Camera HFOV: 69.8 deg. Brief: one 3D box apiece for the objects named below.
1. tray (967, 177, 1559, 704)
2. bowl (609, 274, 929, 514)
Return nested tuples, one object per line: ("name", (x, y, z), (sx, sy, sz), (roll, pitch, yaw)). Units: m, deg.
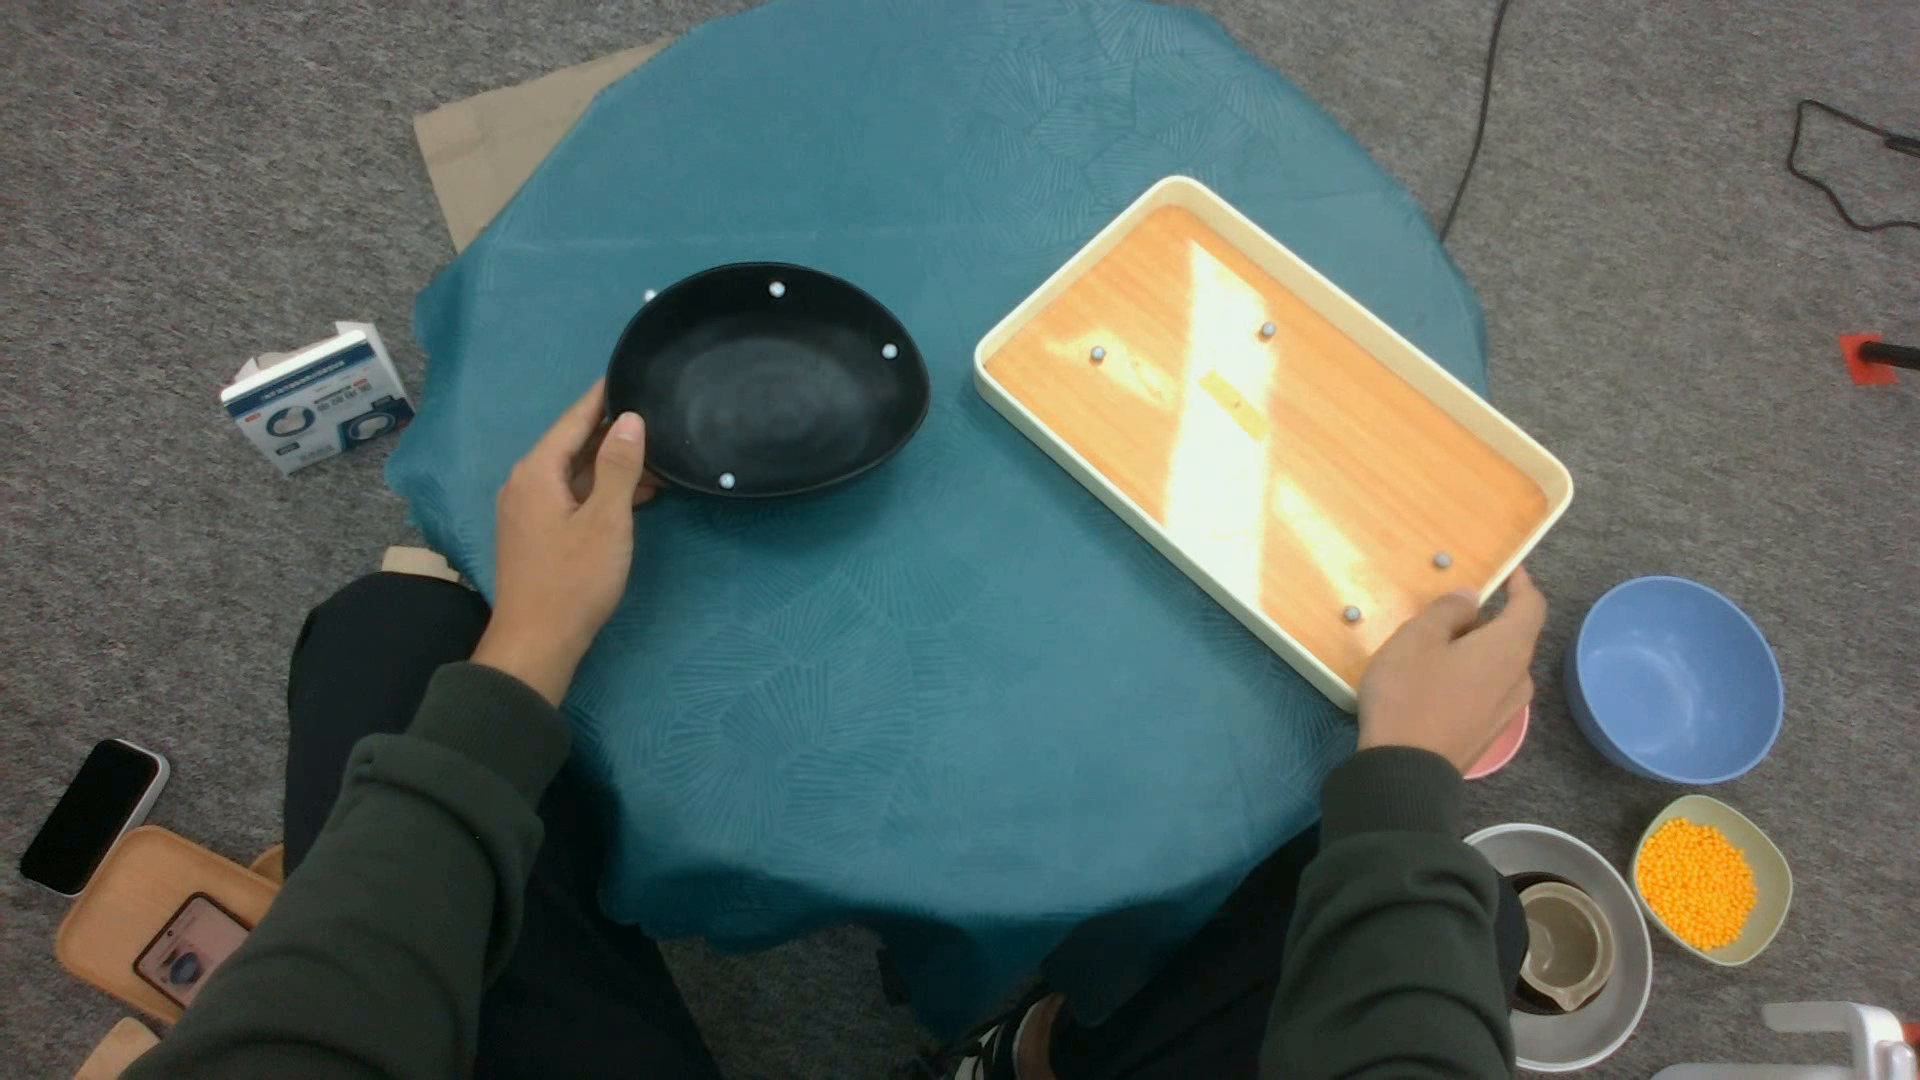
("tray", (0.170, -0.066, 0.789), (0.300, 0.027, 0.192), (41, 71, 14))
("bowl", (-0.103, -0.072, 0.758), (0.170, 0.066, 0.137), (-6, 71, -9))
